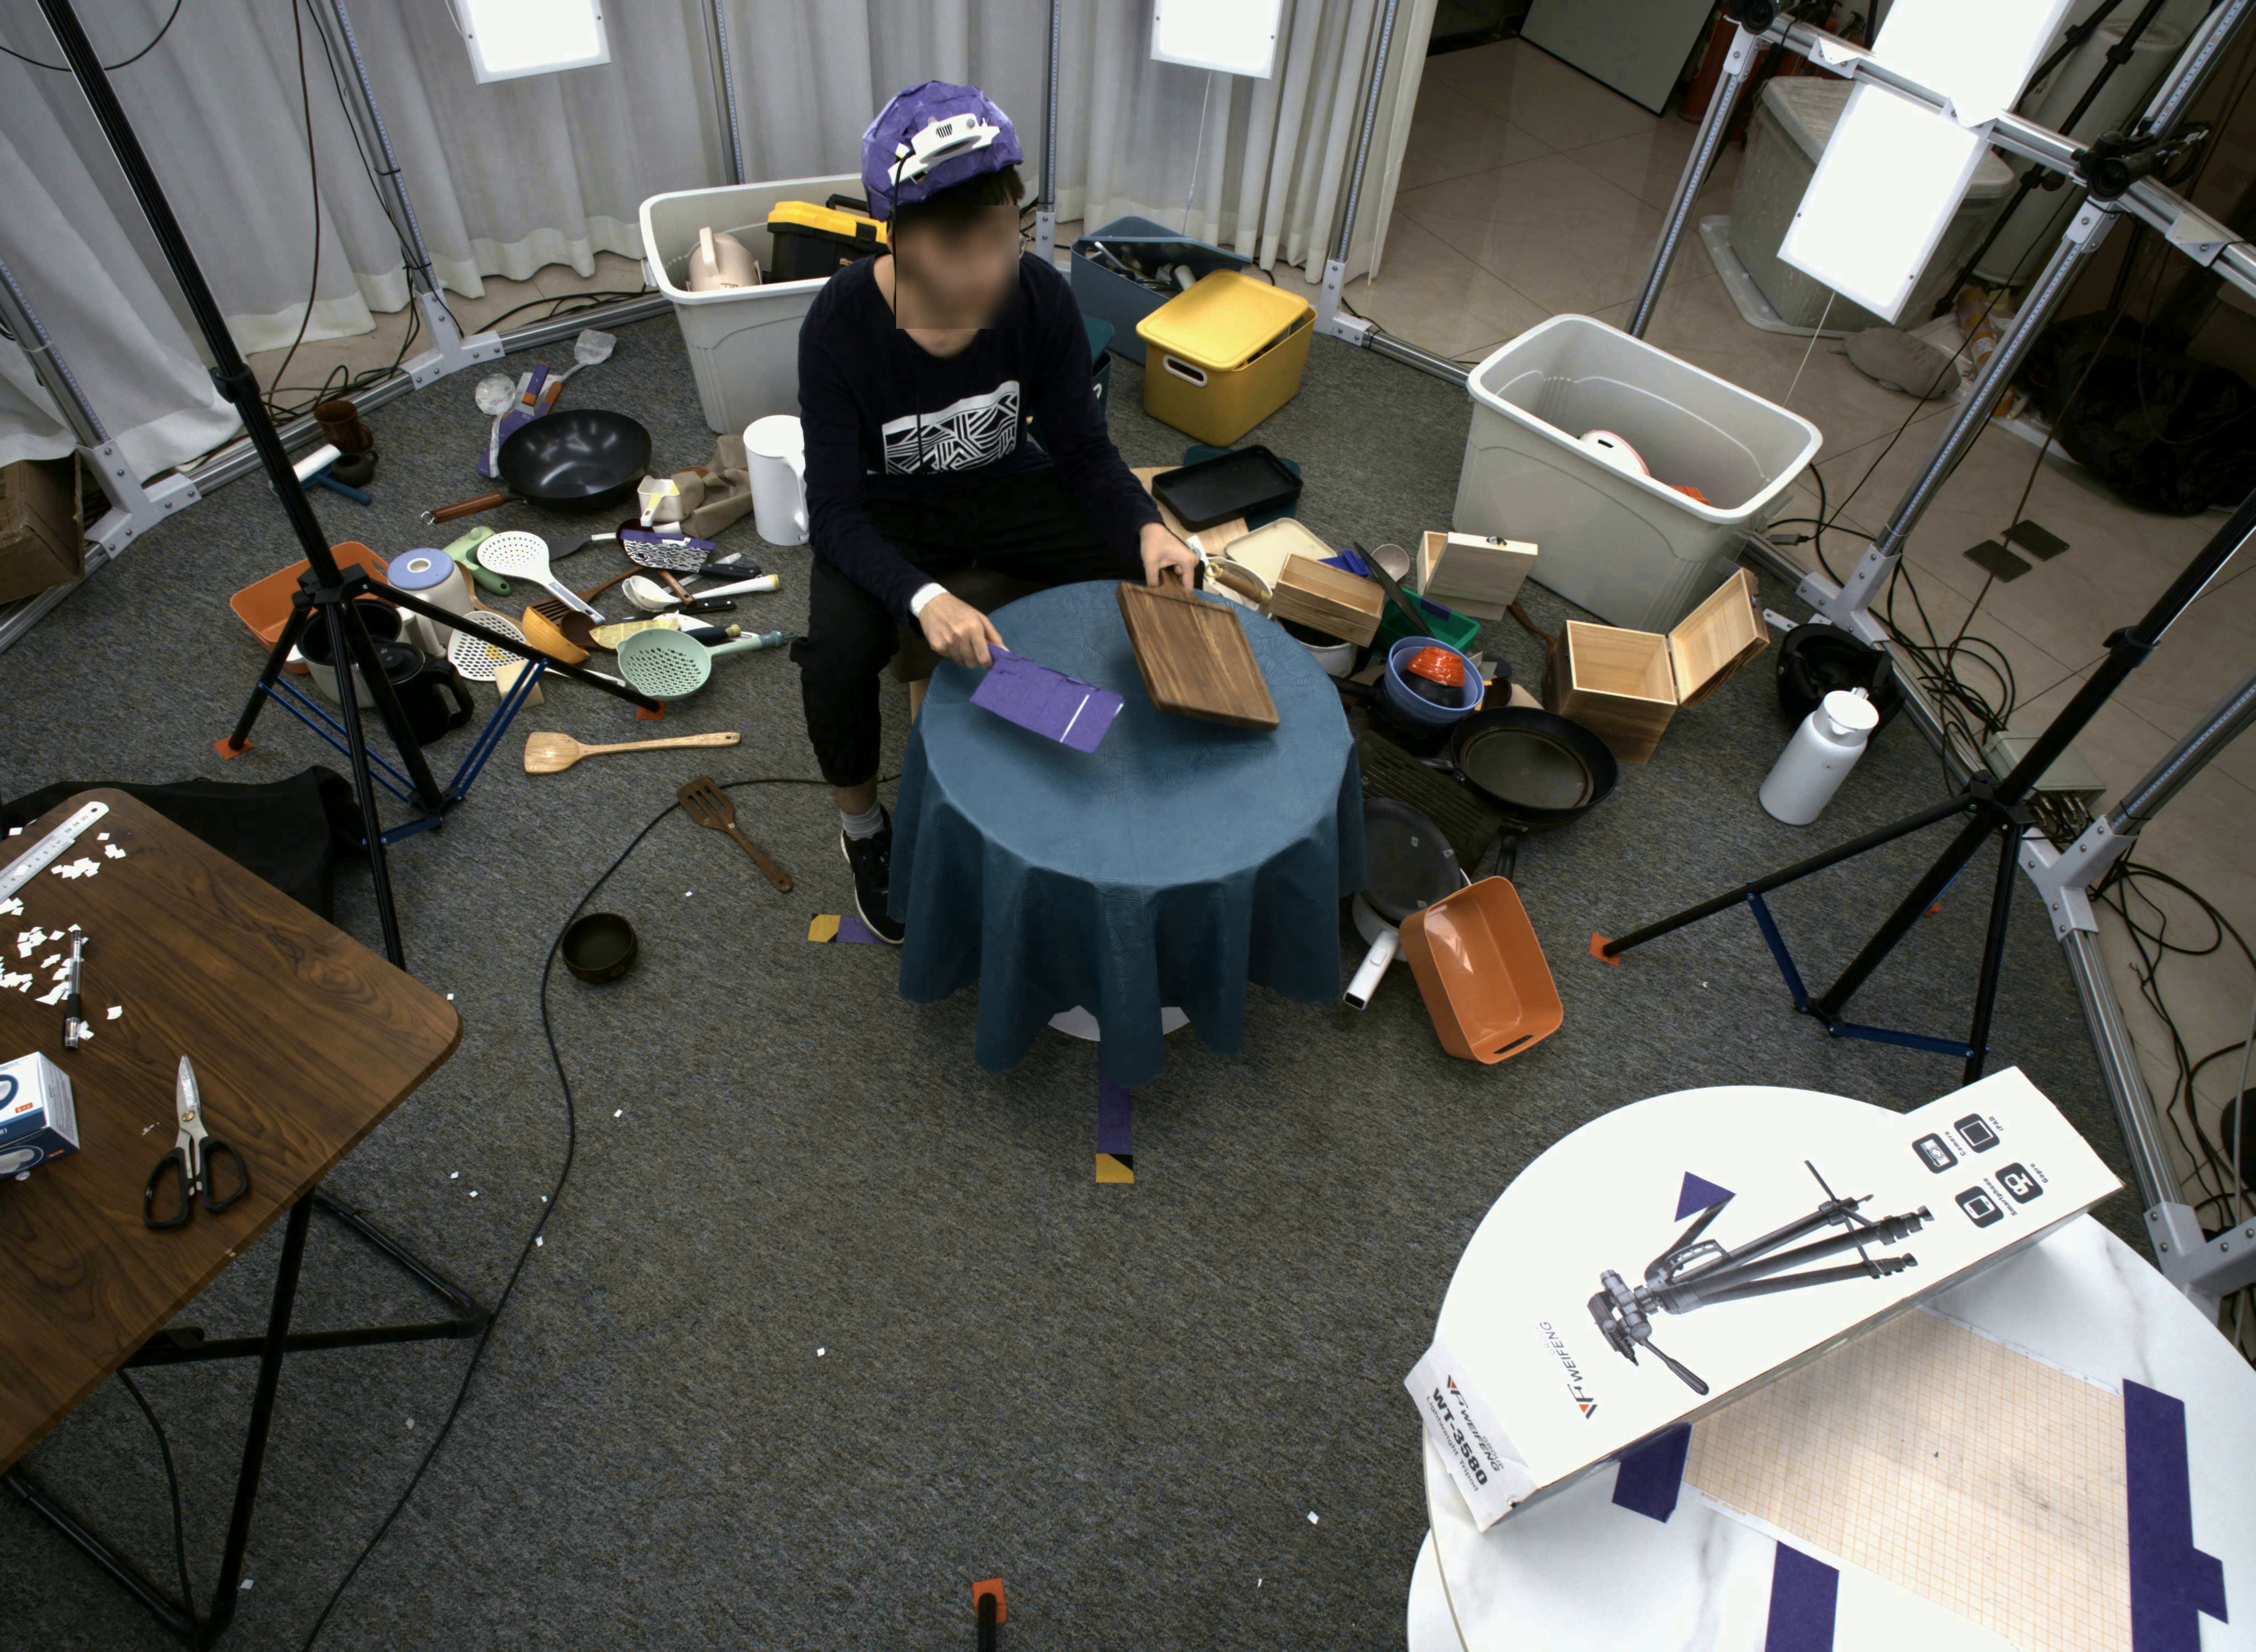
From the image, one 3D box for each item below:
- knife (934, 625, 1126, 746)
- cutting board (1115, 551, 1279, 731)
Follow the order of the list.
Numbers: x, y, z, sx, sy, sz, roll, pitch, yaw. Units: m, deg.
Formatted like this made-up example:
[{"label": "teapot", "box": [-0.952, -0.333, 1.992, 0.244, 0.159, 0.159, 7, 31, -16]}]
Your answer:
[{"label": "knife", "box": [-0.154, -0.192, 1.744, 0.319, 0.031, 0.105, 23, 71, 29]}, {"label": "cutting board", "box": [0.085, -0.279, 1.839, 0.199, 0.023, 0.361, 10, 43, -26]}]
